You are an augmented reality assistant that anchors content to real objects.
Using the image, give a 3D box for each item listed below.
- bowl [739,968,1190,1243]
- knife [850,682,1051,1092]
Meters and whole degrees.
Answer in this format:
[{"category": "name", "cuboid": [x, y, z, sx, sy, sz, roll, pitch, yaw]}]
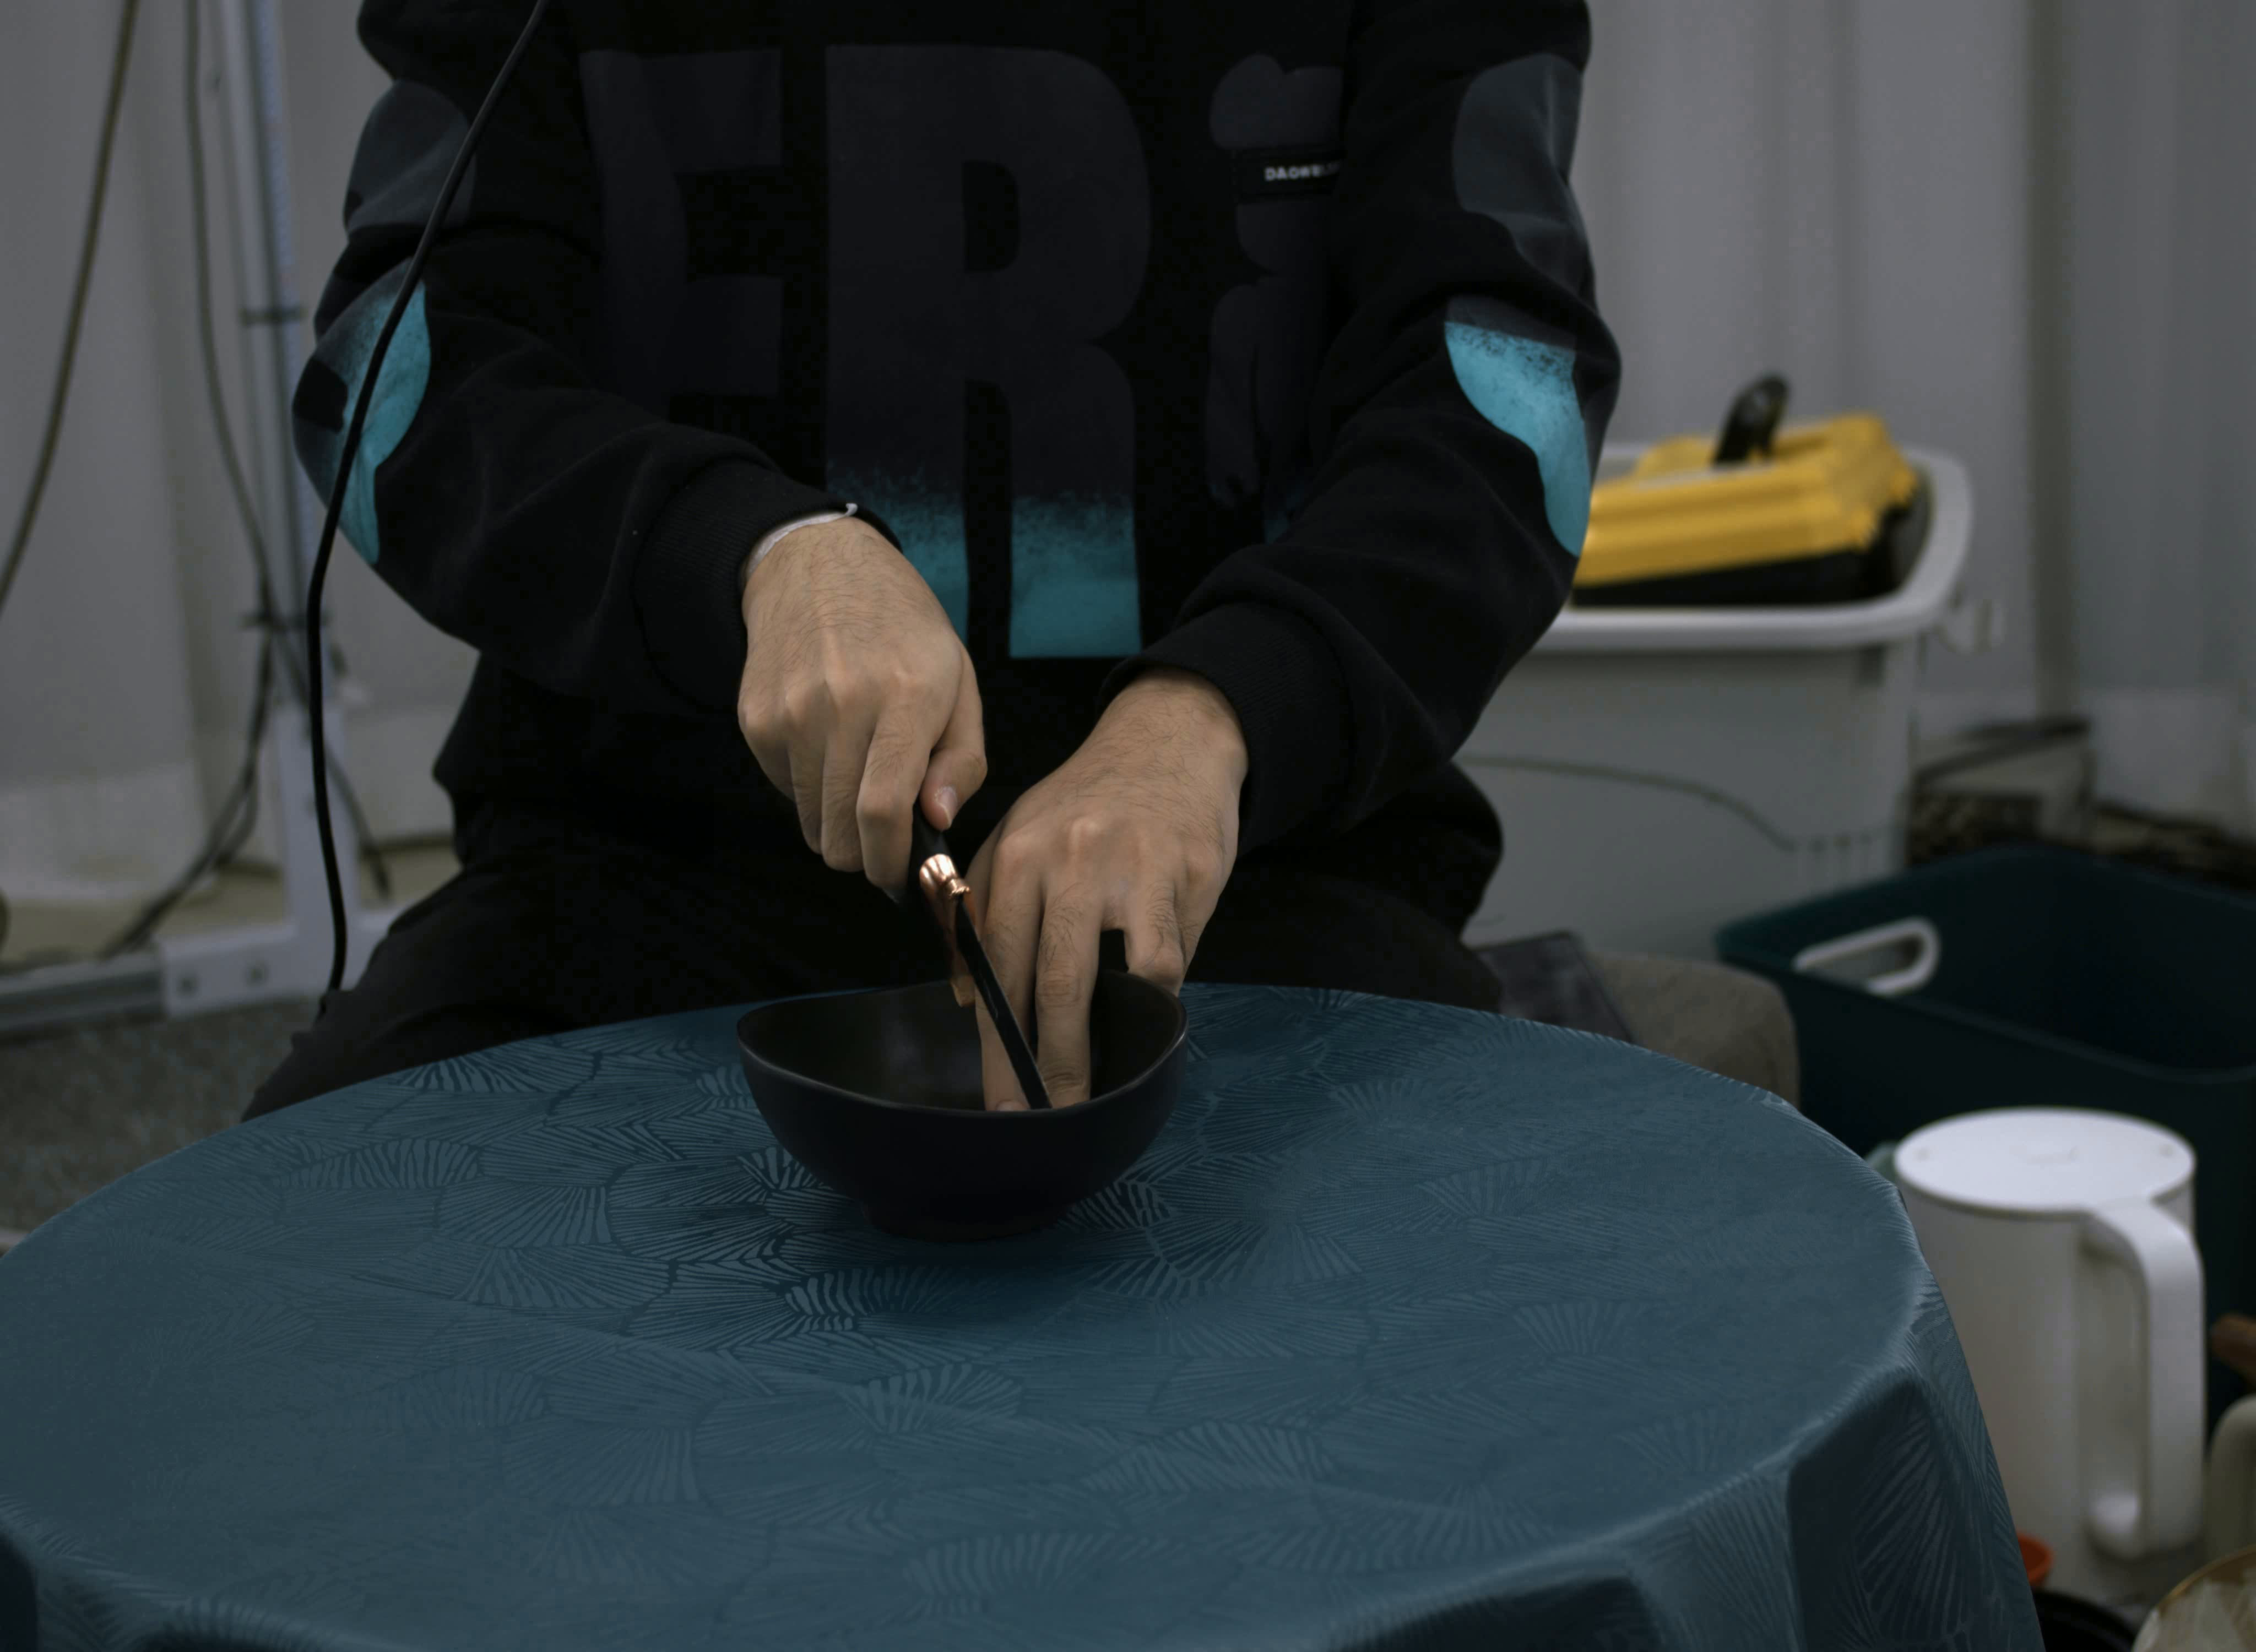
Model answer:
[{"category": "bowl", "cuboid": [-0.051, 0.089, 1.696, 0.137, 0.066, 0.171, -8, 14, -20]}, {"category": "knife", "cuboid": [-0.052, 0.029, 1.739, 0.017, 0.026, 0.229, -15, 45, -10]}]
